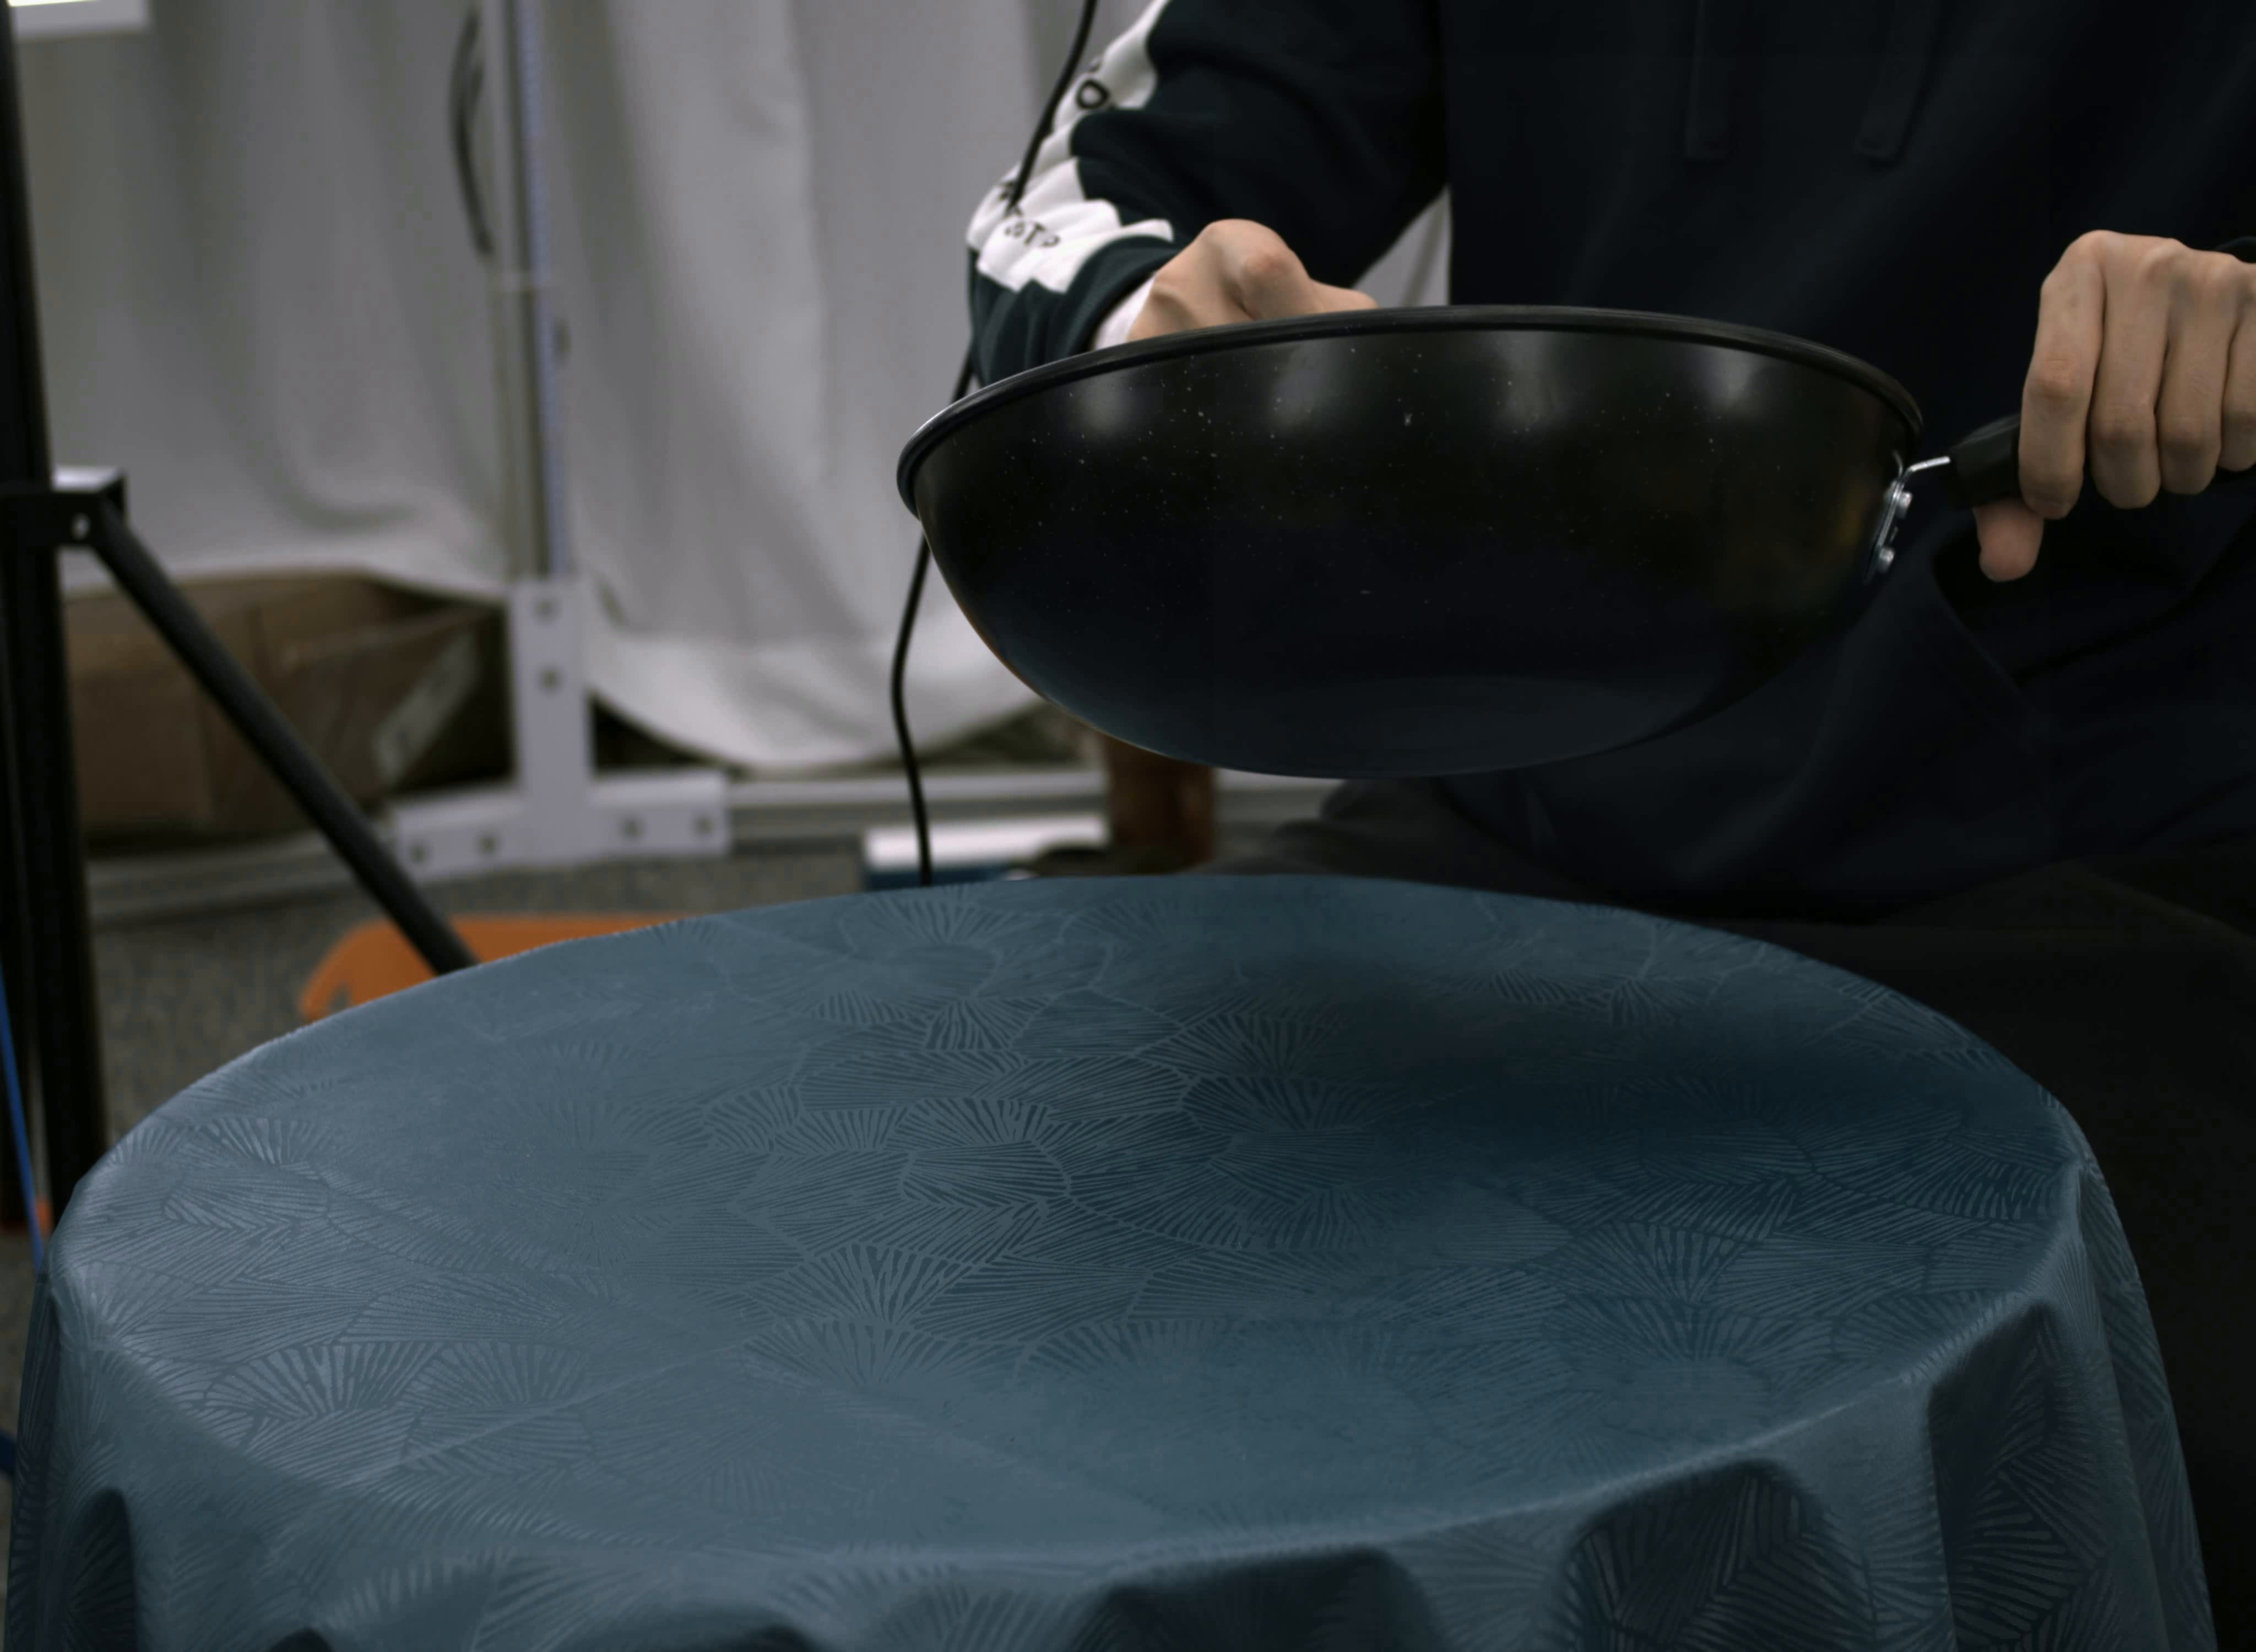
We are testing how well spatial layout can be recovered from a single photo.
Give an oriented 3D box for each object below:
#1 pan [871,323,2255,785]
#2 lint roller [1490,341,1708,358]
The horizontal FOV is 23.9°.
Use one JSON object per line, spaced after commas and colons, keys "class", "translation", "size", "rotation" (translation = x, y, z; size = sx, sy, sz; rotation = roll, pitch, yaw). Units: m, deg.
{"class": "pan", "translation": [0.161, -0.083, 1.590], "size": [0.475, 0.112, 0.309], "rotation": [-2, -10, 2]}
{"class": "lint roller", "translation": [0.077, -0.111, 1.653], "size": [0.224, 0.068, 0.184], "rotation": [-22, 39, -35]}
